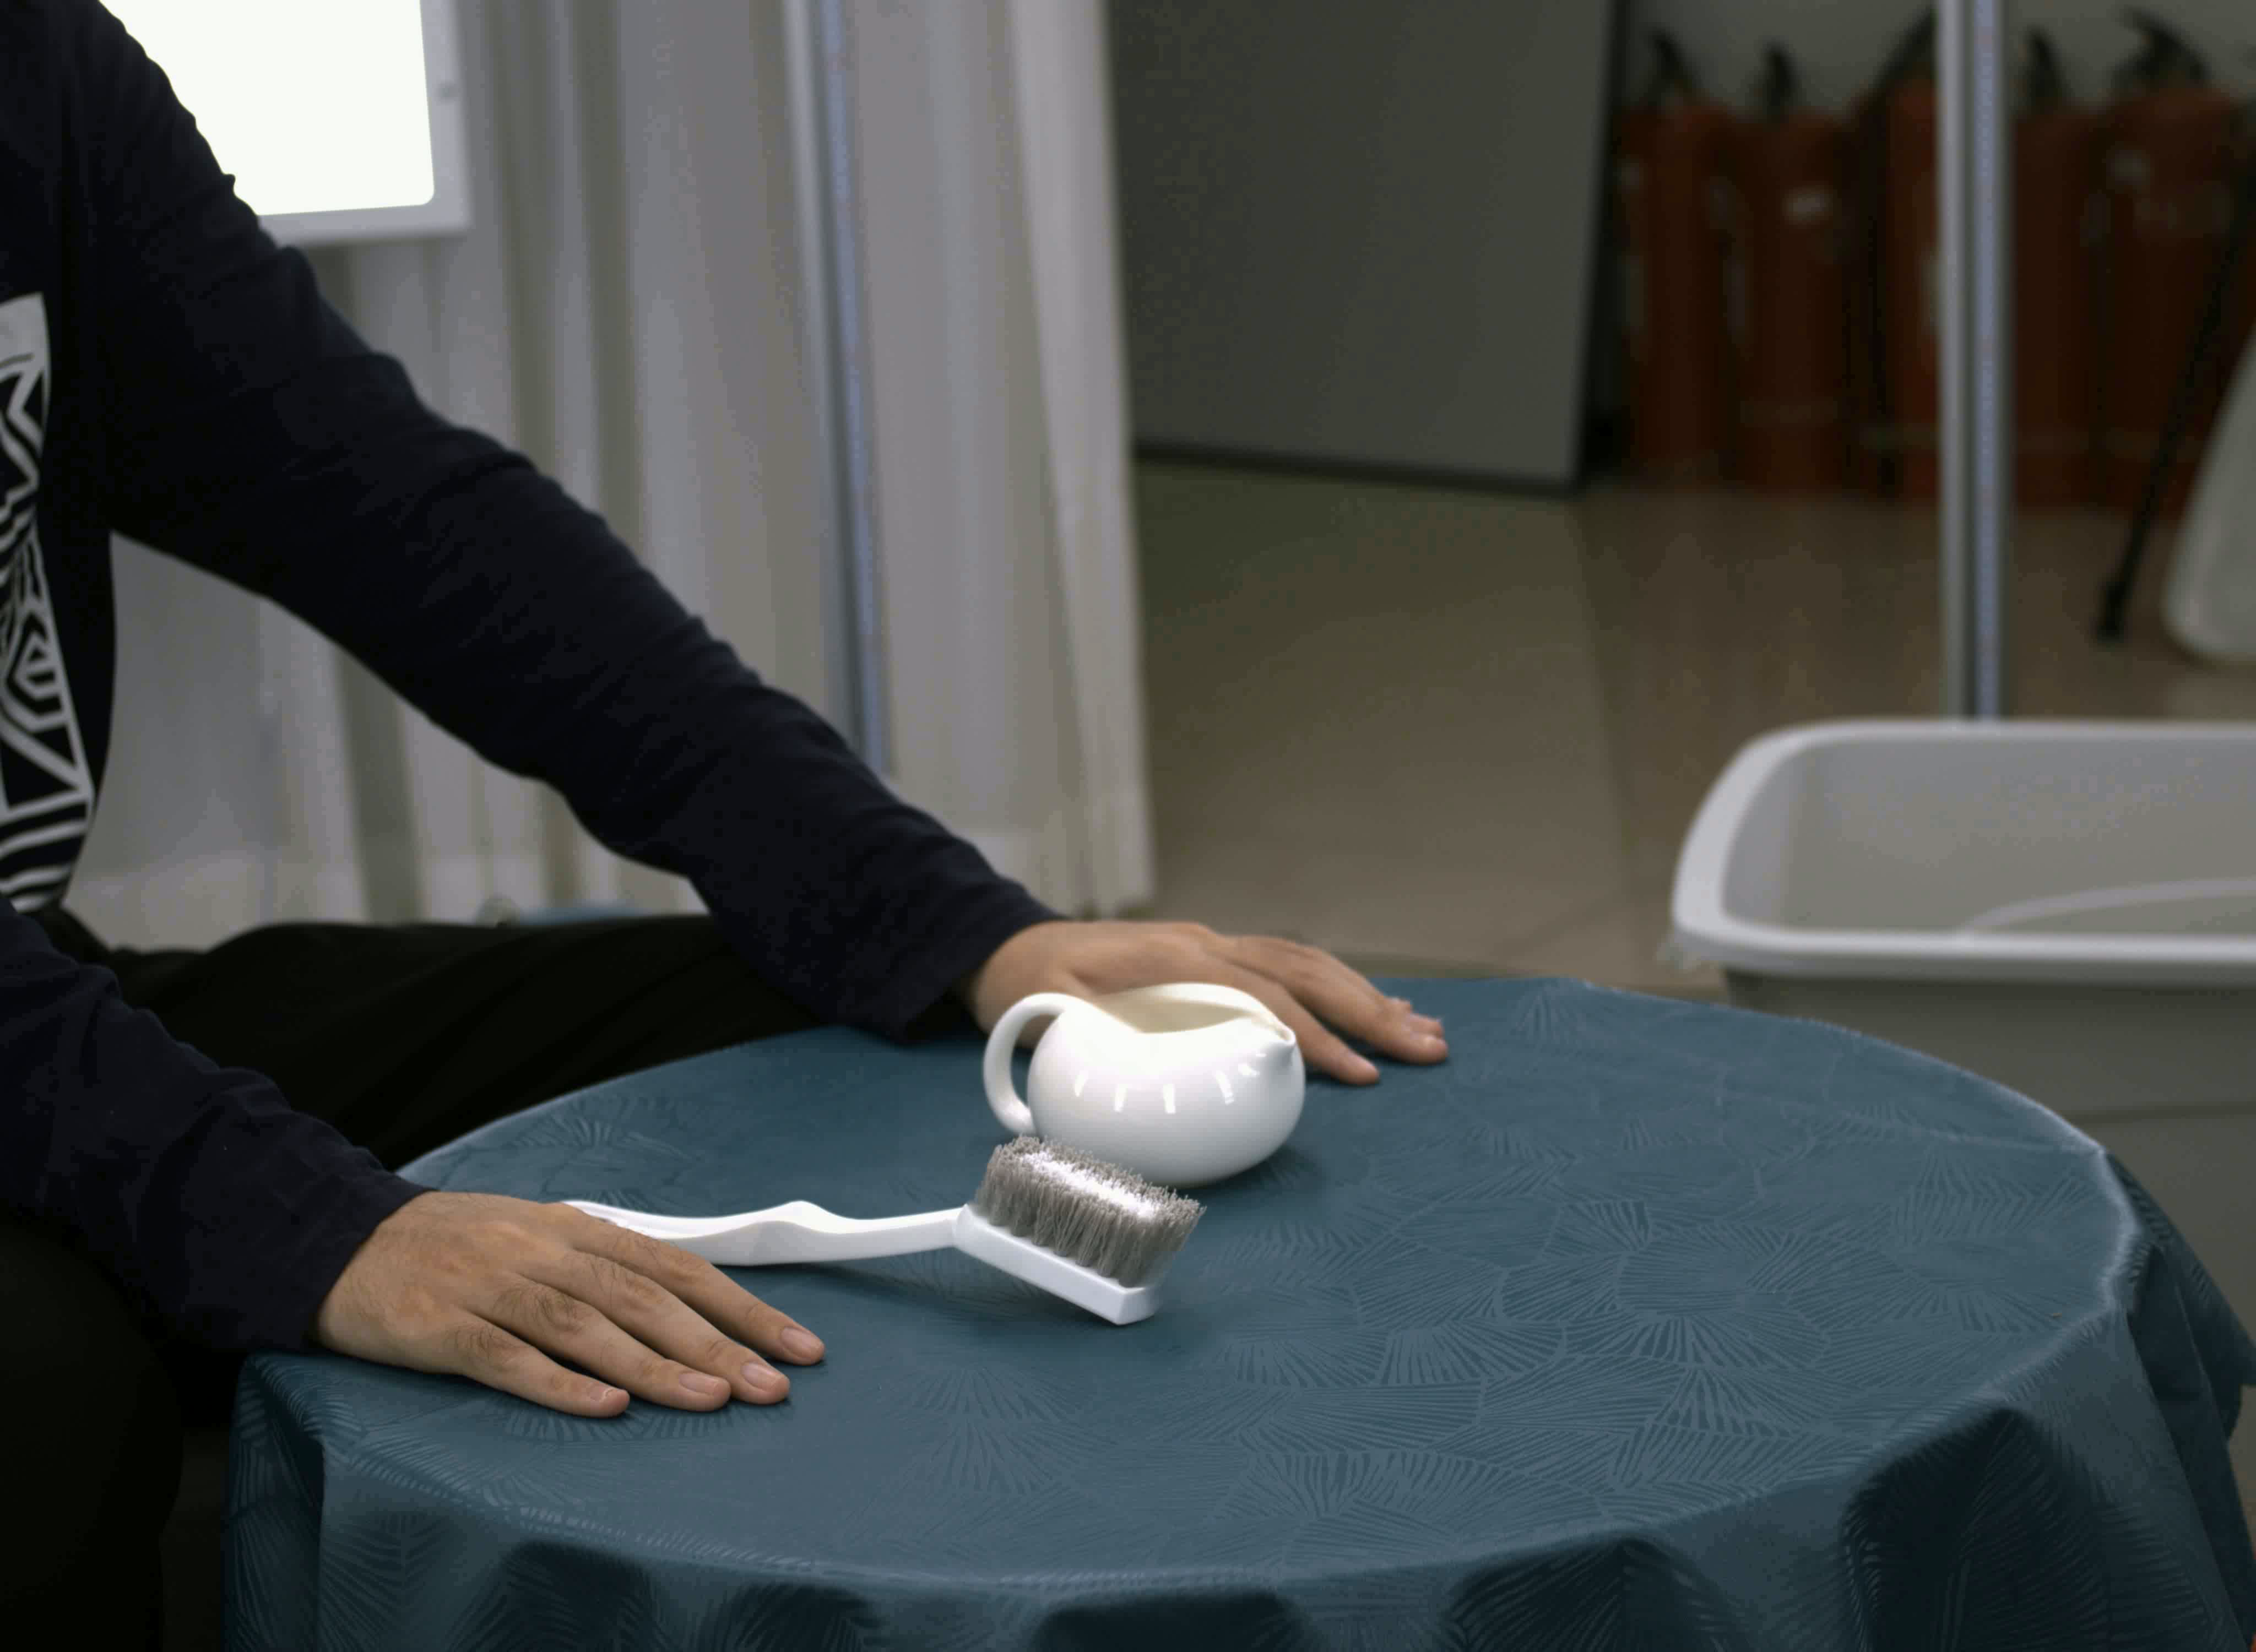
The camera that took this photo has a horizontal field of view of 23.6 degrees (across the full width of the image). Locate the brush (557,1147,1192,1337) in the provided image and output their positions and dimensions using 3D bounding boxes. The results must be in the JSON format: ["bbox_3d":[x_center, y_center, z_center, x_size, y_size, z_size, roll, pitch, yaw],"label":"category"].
[{"bbox_3d":[-0.086,0.120,1.706,0.245,0.051,0.034,6,21,35],"label":"brush"}]

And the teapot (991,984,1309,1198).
[{"bbox_3d":[0.005,0.088,1.800,0.128,0.057,0.092,3,19,33],"label":"teapot"}]
